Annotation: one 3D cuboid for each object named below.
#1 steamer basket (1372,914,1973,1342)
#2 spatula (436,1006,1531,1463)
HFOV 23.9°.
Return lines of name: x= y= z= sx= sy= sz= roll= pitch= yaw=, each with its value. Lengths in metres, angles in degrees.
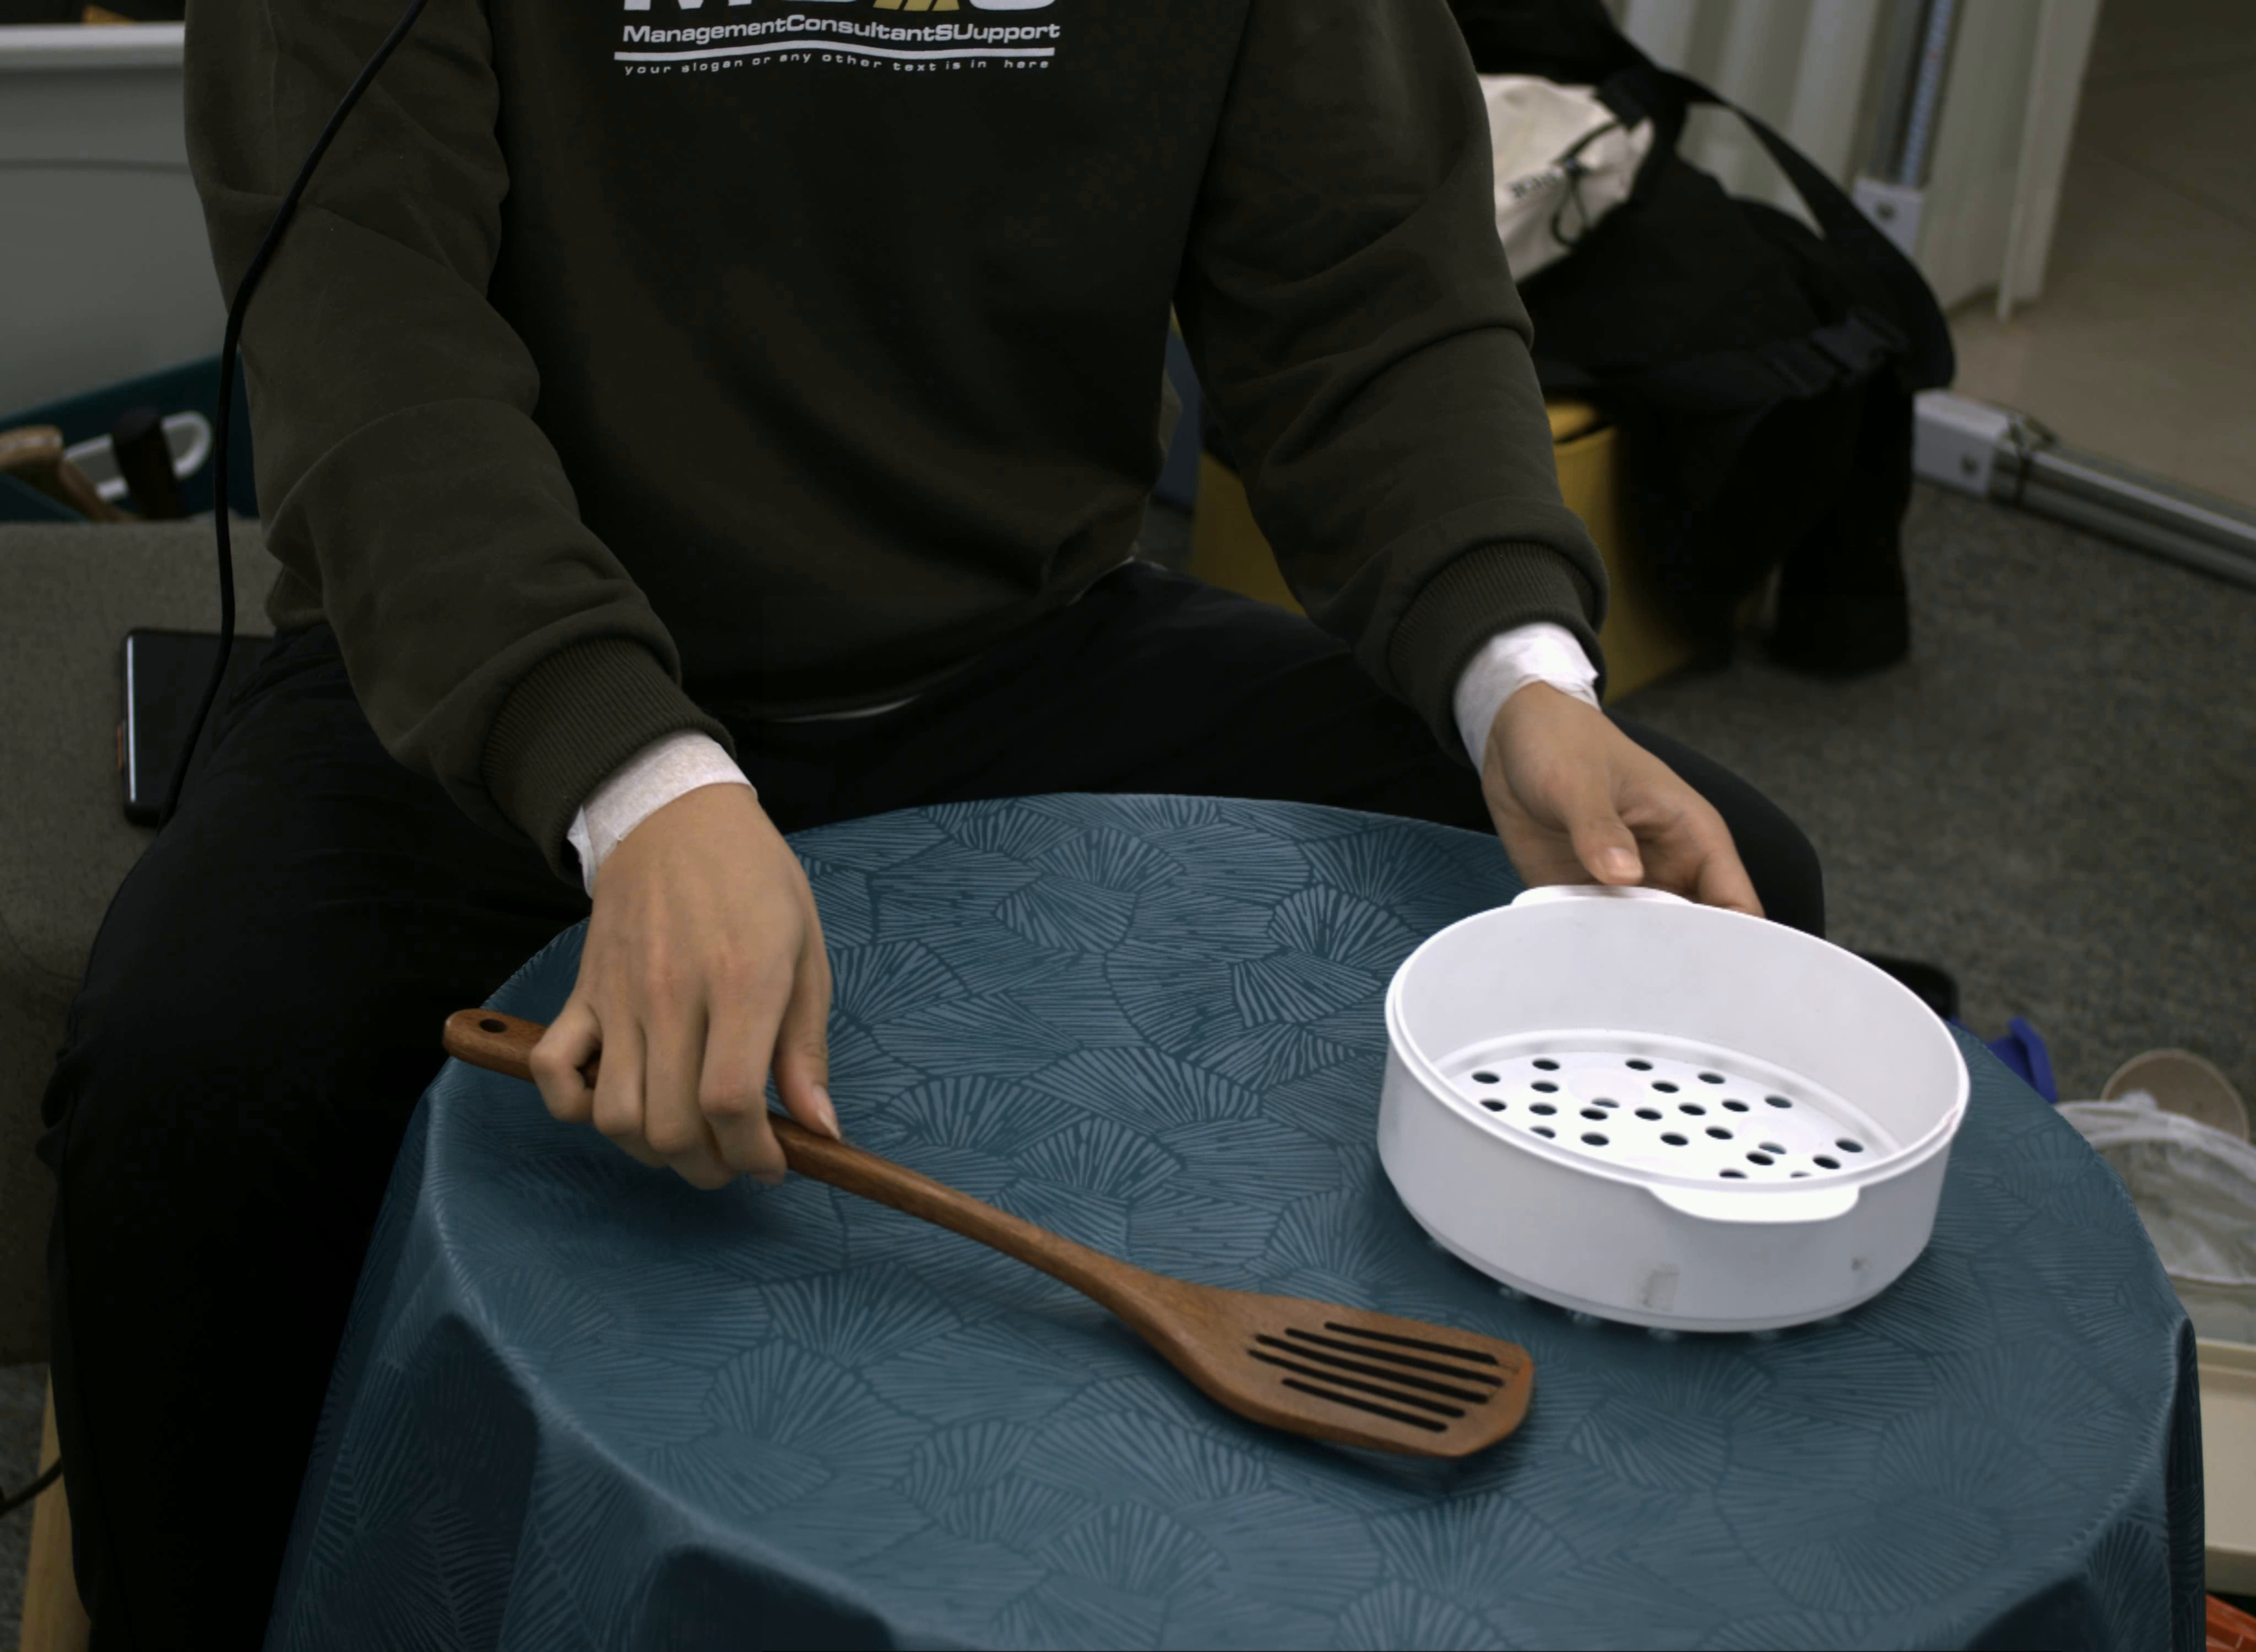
steamer basket: x=0.183 y=0.104 z=1.817 sx=0.201 sy=0.069 sz=0.232 roll=3 pitch=23 yaw=-12
spatula: x=-0.055 y=0.130 z=1.734 sx=0.386 sy=0.023 sz=0.086 roll=20 pitch=26 yaw=14
